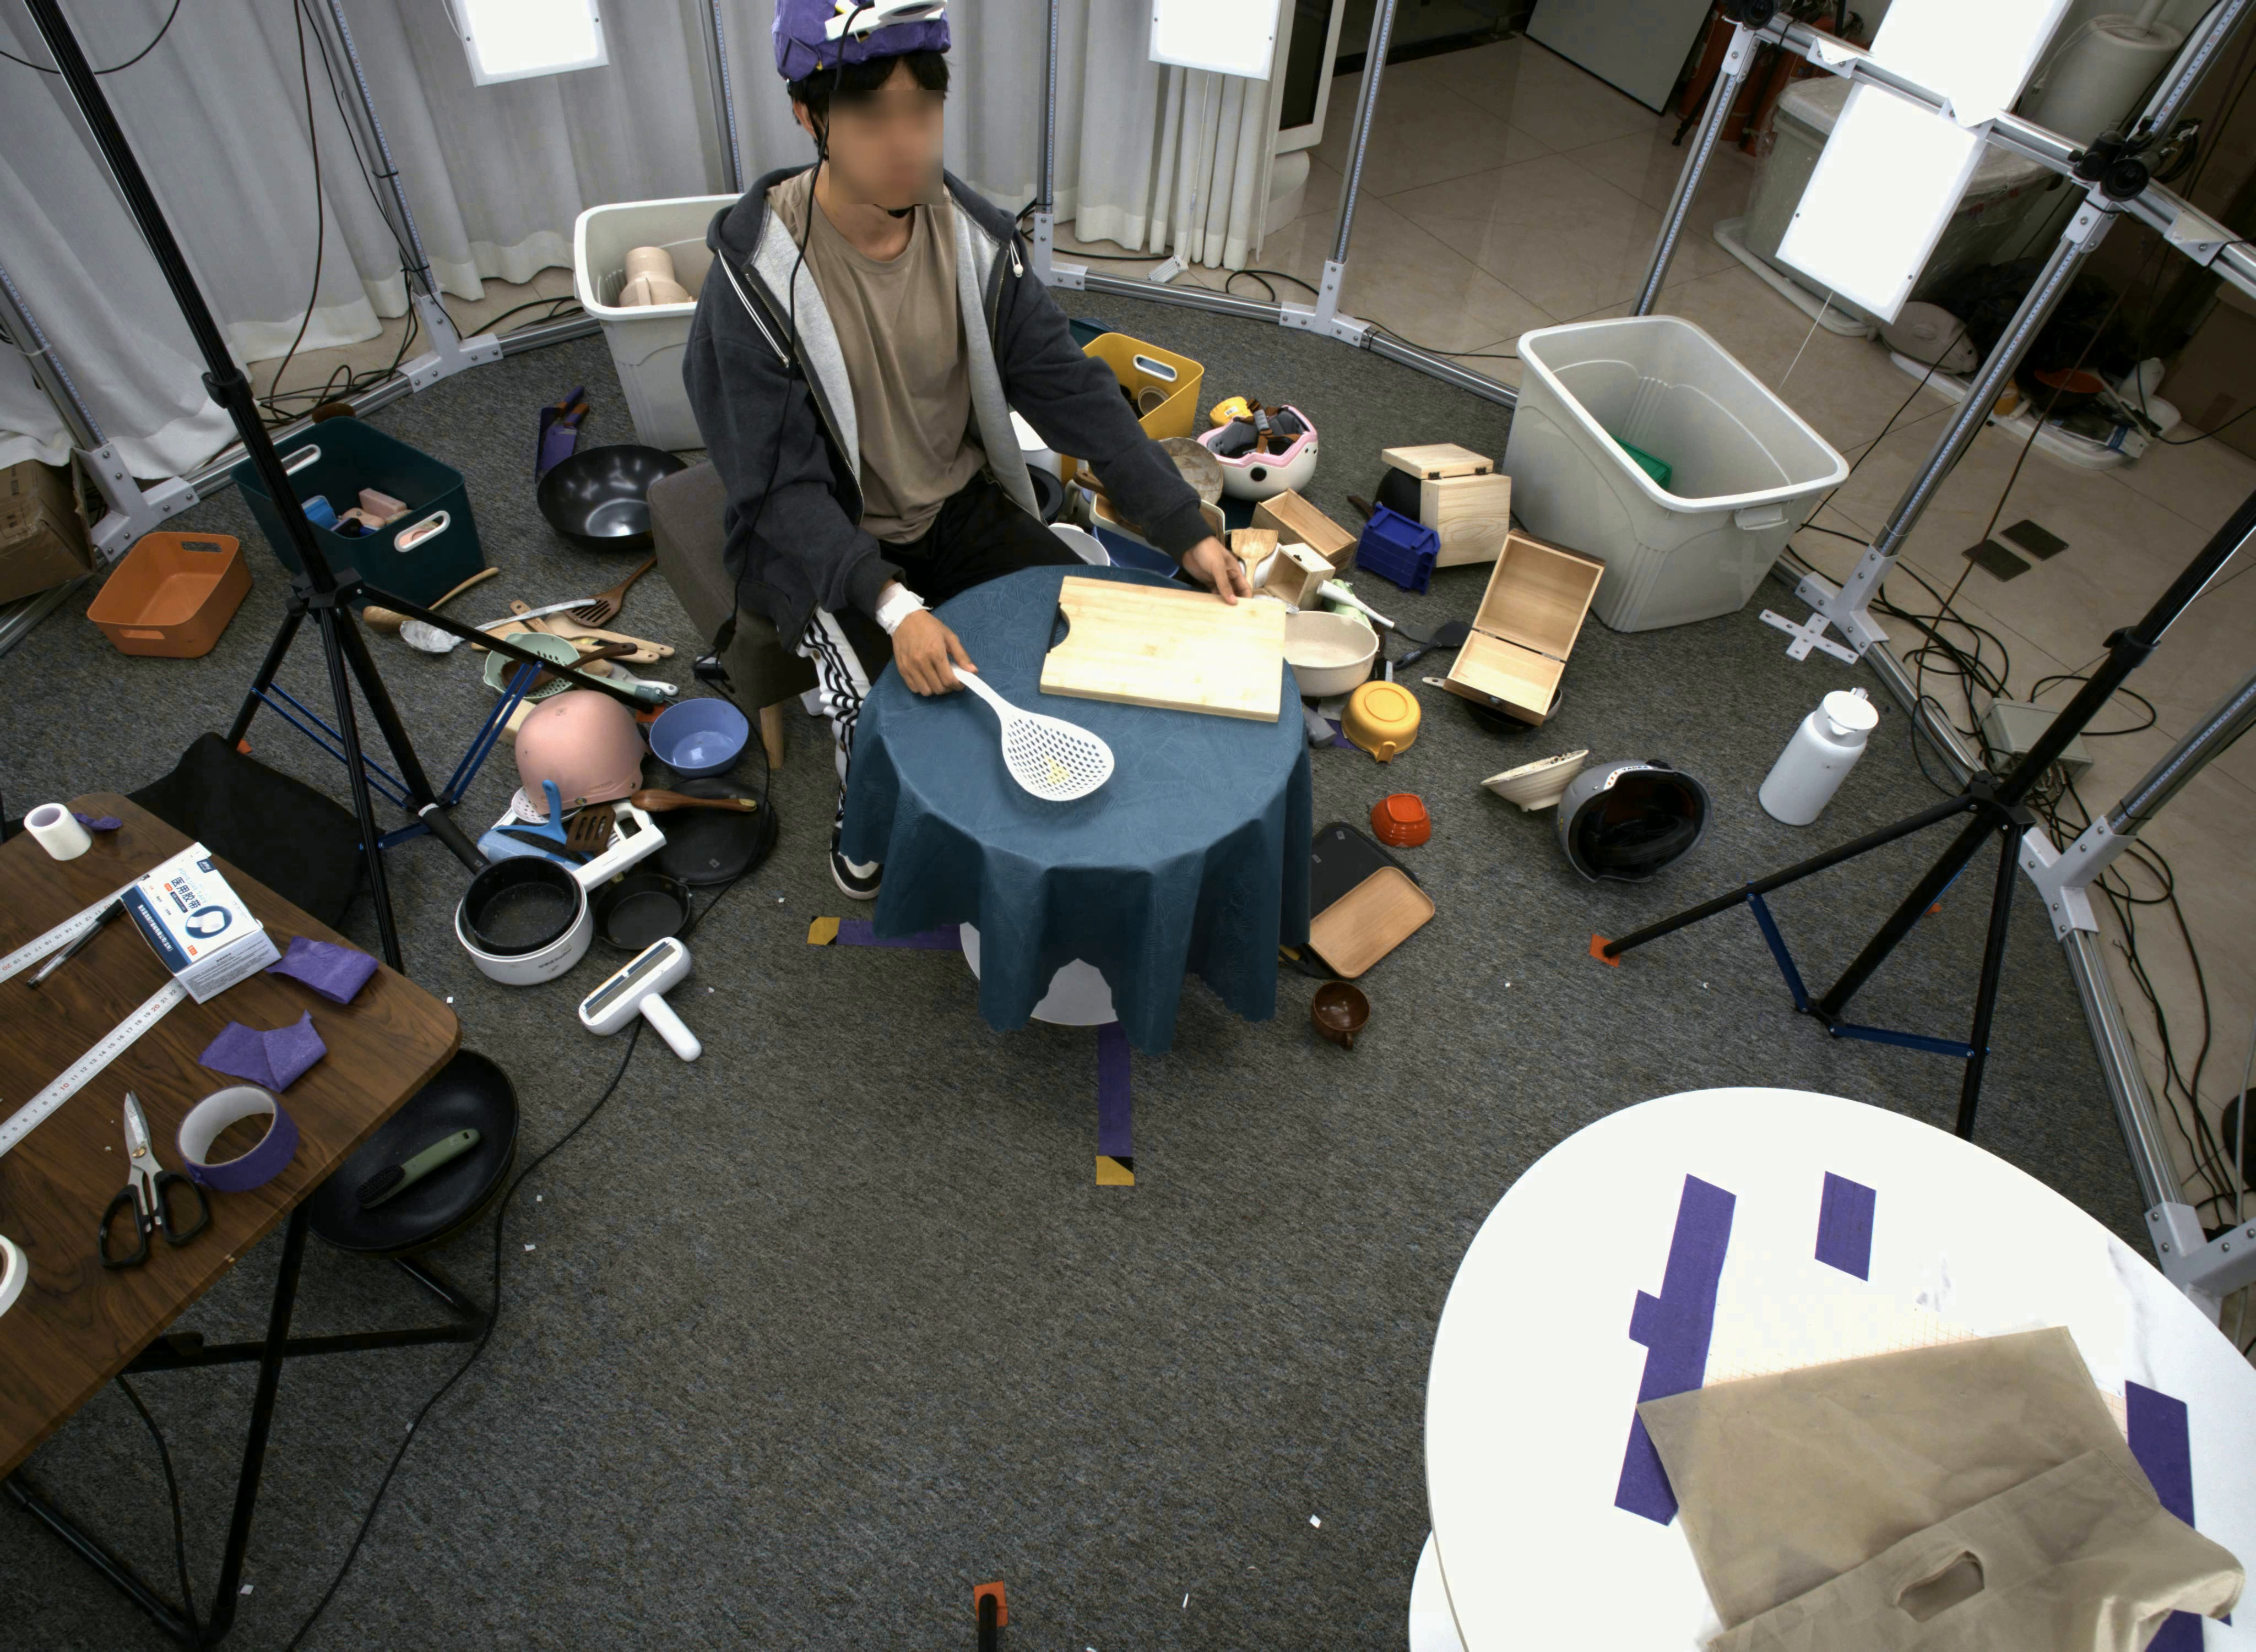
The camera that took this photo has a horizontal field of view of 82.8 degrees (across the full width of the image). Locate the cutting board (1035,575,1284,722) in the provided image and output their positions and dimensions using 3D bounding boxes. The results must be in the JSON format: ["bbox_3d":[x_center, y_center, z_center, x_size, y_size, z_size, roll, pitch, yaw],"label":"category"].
[{"bbox_3d":[0.053,-0.265,1.889,0.348,0.023,0.257,7,49,2],"label":"cutting board"}]

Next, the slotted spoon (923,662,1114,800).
[{"bbox_3d":[-0.163,-0.143,1.748,0.138,0.049,0.353,-33,61,-27],"label":"slotted spoon"}]
